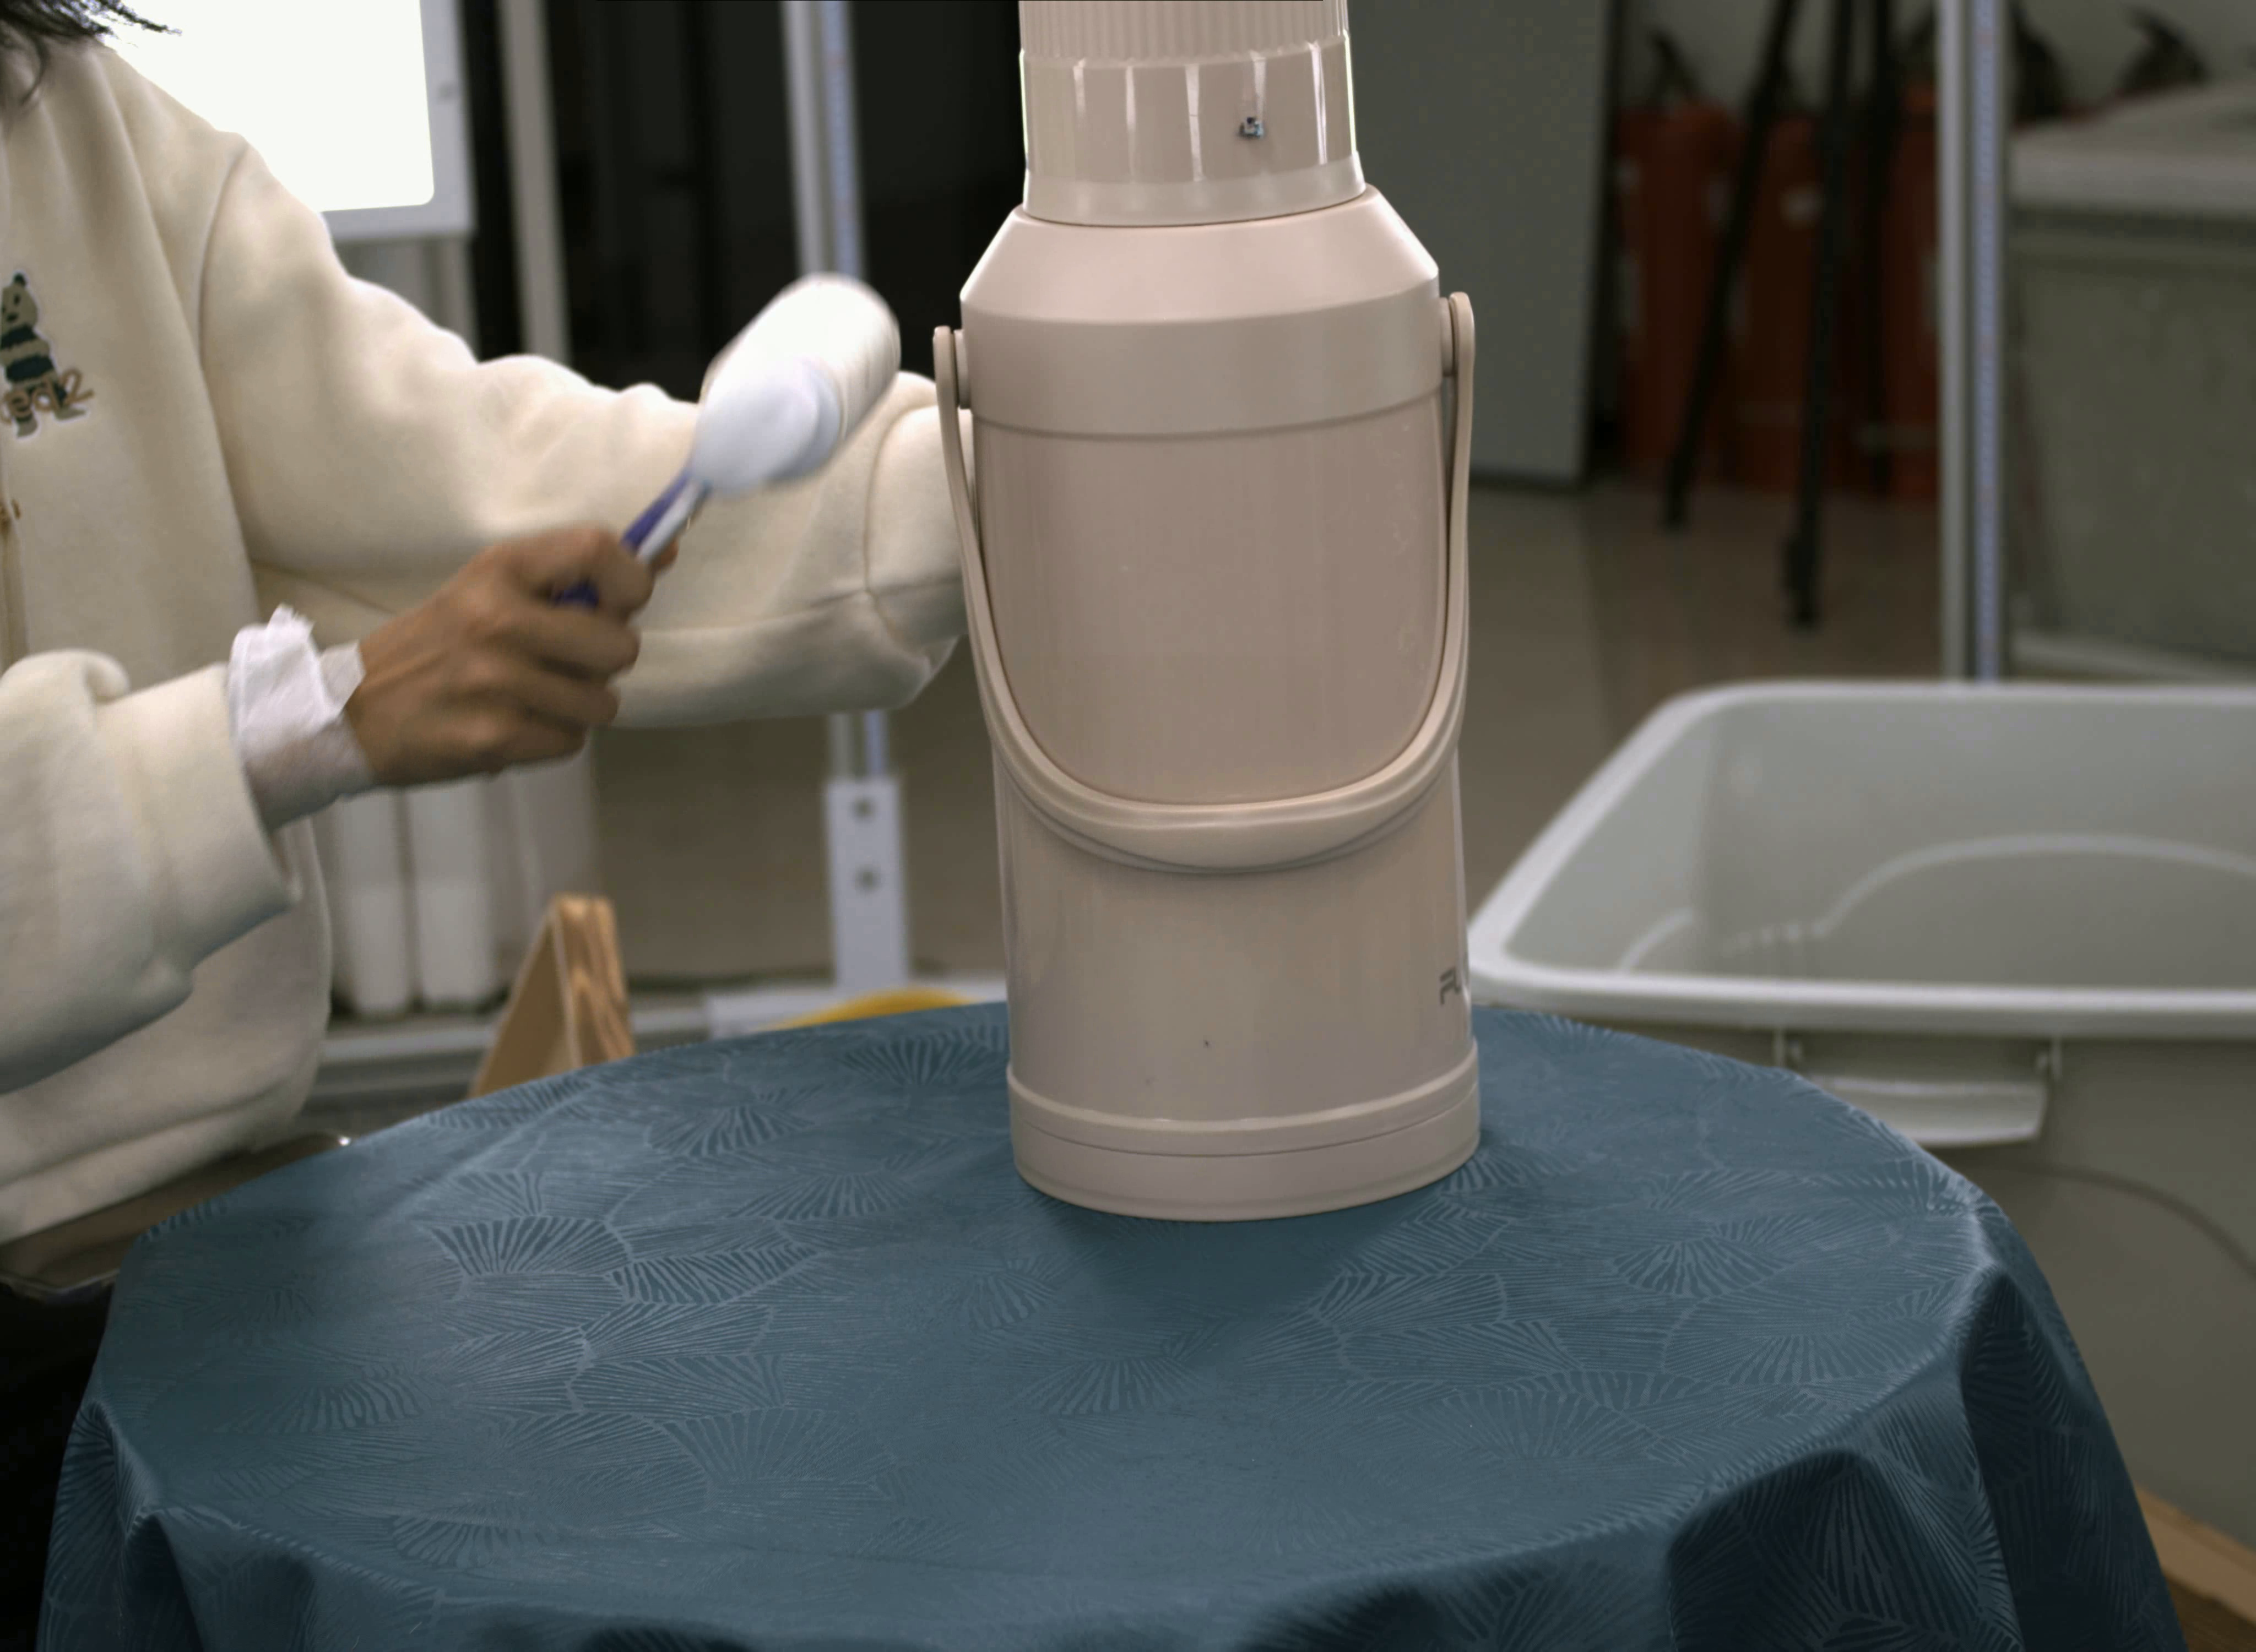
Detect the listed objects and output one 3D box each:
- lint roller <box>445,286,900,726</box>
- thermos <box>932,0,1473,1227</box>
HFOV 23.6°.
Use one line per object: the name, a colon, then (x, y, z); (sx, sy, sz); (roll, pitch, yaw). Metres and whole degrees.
lint roller: (-0.152, -0.099, 1.683); (0.181, 0.050, 0.132); (-34, 9, 18)
thermos: (0.028, -0.088, 1.774); (0.173, 0.411, 0.207); (-4, 13, -1)
